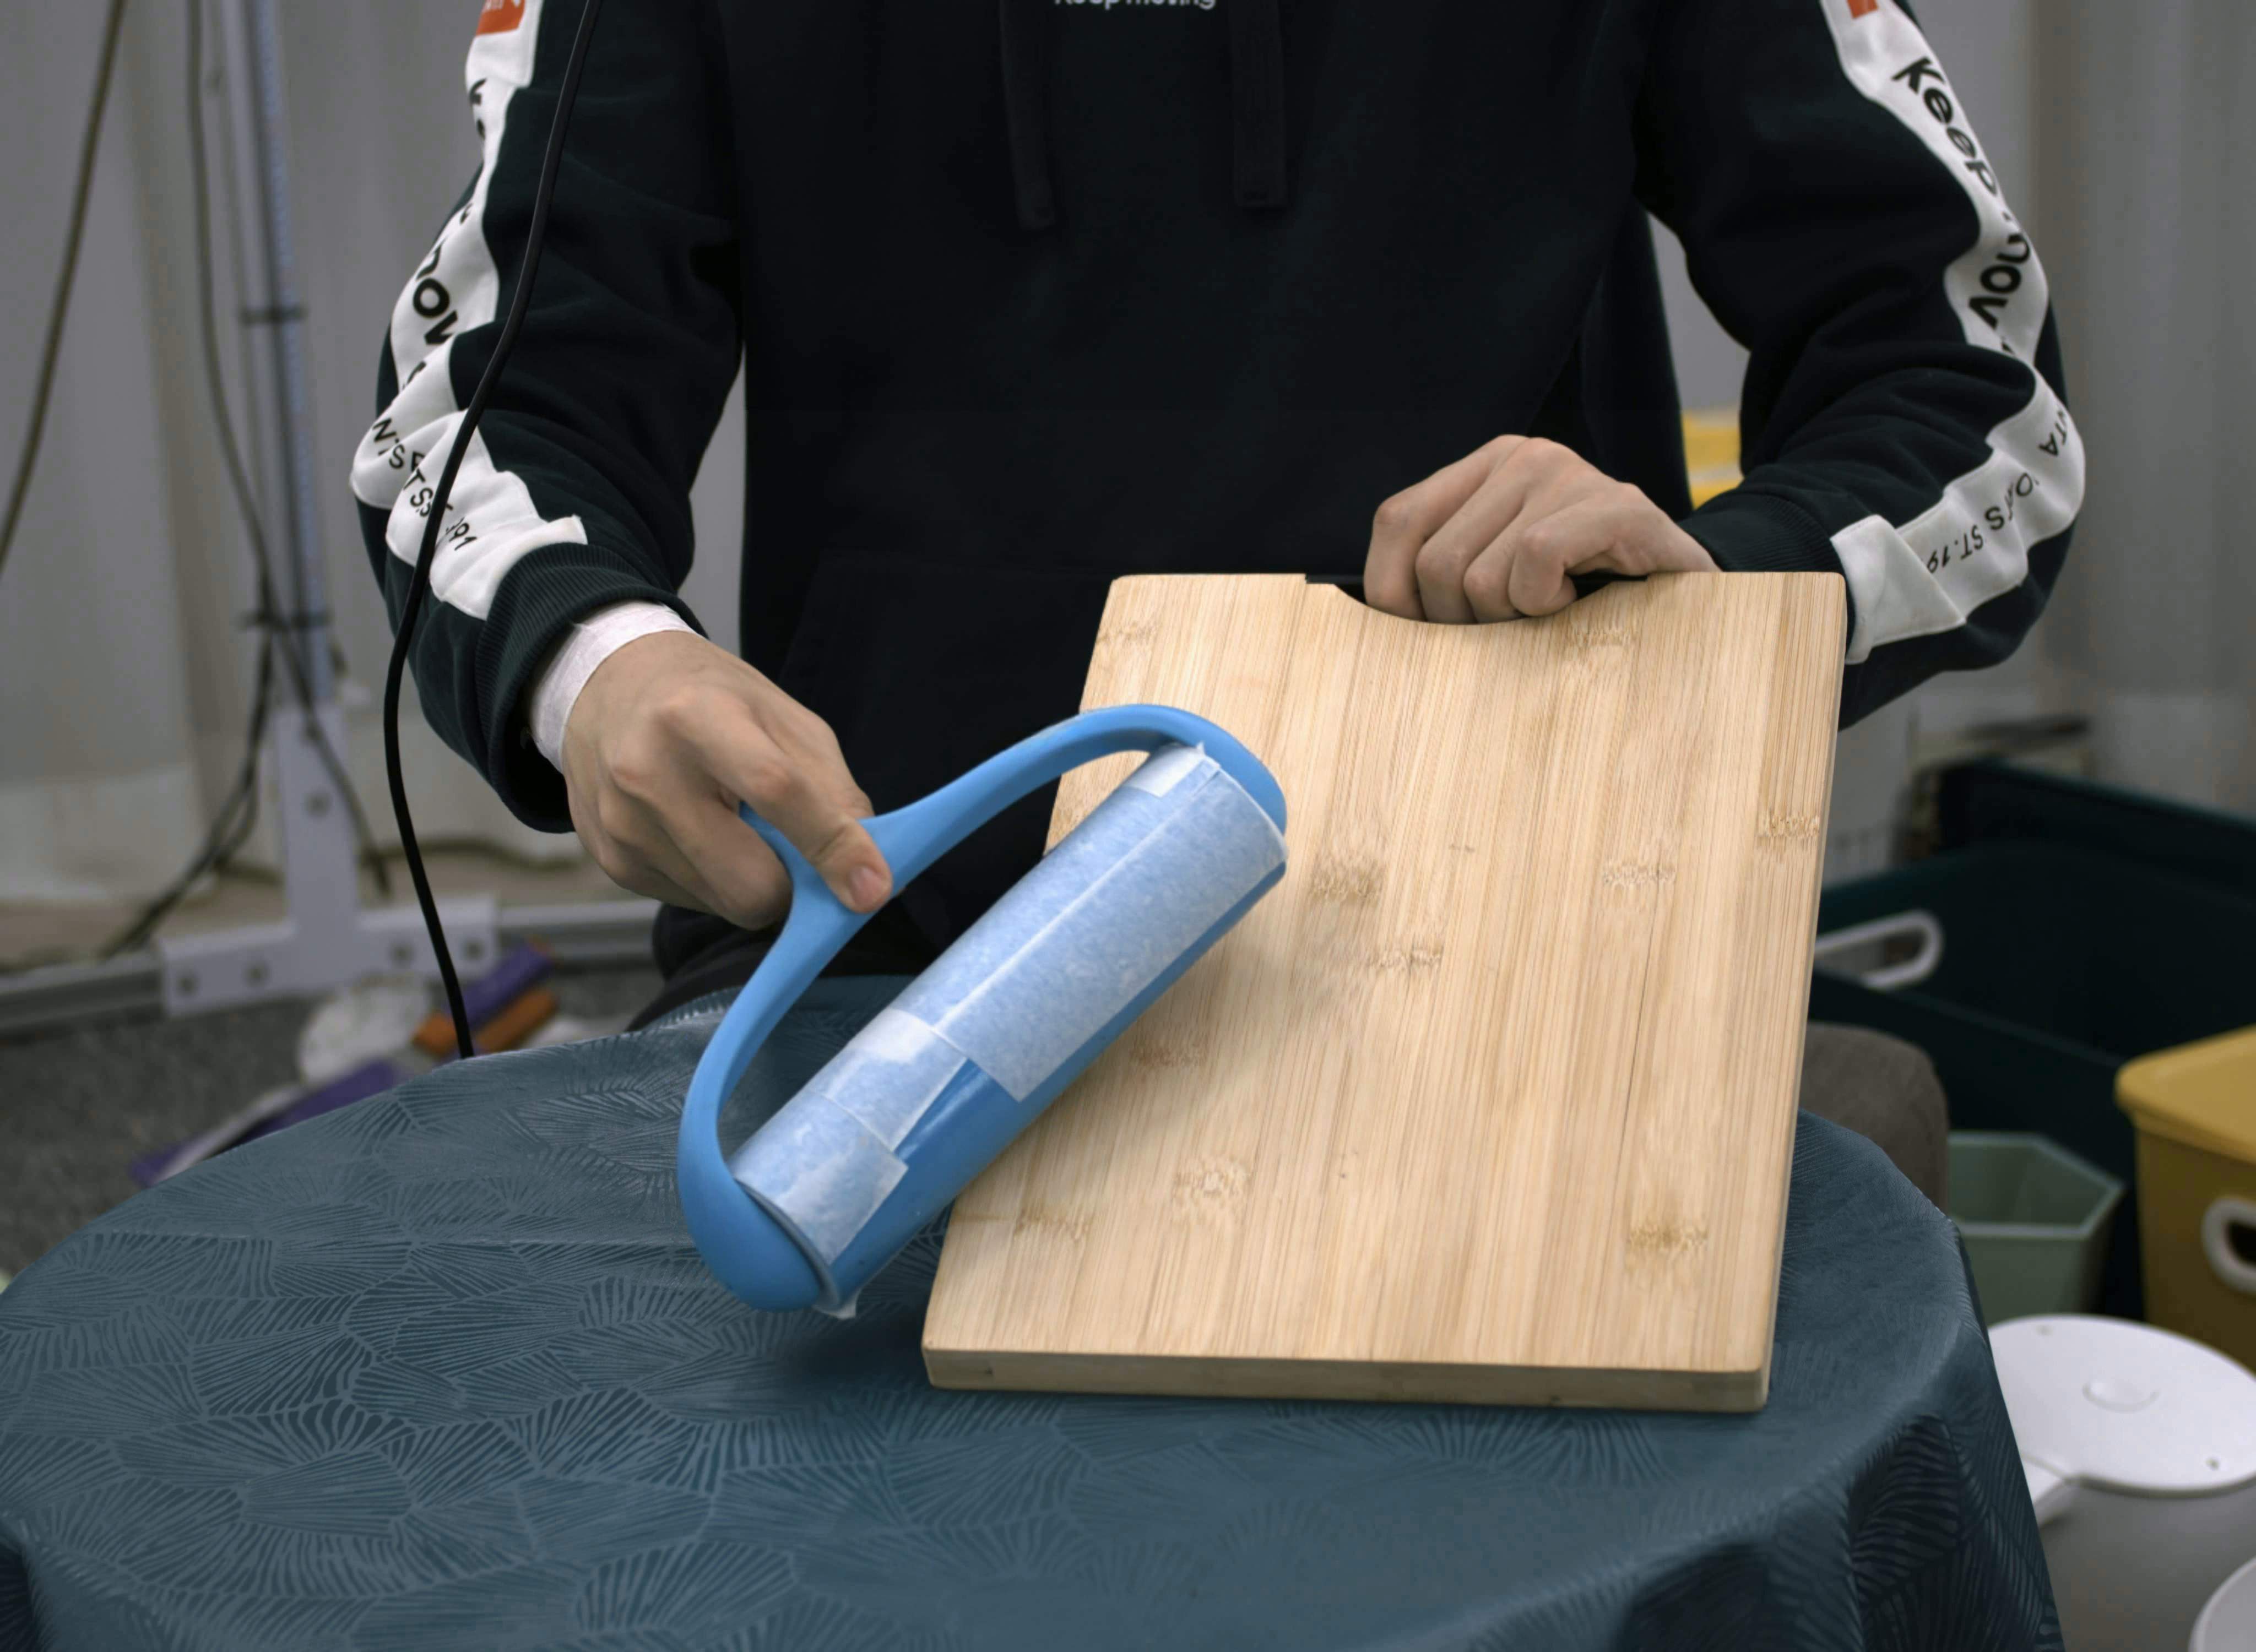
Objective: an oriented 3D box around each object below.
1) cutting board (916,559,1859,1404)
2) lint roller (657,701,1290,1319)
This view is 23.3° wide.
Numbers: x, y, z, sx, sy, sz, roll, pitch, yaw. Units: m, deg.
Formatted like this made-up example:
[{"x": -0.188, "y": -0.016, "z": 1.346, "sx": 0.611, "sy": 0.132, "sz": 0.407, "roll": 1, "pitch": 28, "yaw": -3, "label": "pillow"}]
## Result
[{"x": 0.087, "y": 0.038, "z": 1.651, "sx": 0.250, "sy": 0.023, "sz": 0.353, "roll": 0, "pitch": 42, "yaw": 12, "label": "cutting board"}, {"x": -0.080, "y": 0.029, "z": 1.622, "sx": 0.182, "sy": 0.067, "sz": 0.230, "roll": 31, "pitch": 66, "yaw": 28, "label": "lint roller"}]
